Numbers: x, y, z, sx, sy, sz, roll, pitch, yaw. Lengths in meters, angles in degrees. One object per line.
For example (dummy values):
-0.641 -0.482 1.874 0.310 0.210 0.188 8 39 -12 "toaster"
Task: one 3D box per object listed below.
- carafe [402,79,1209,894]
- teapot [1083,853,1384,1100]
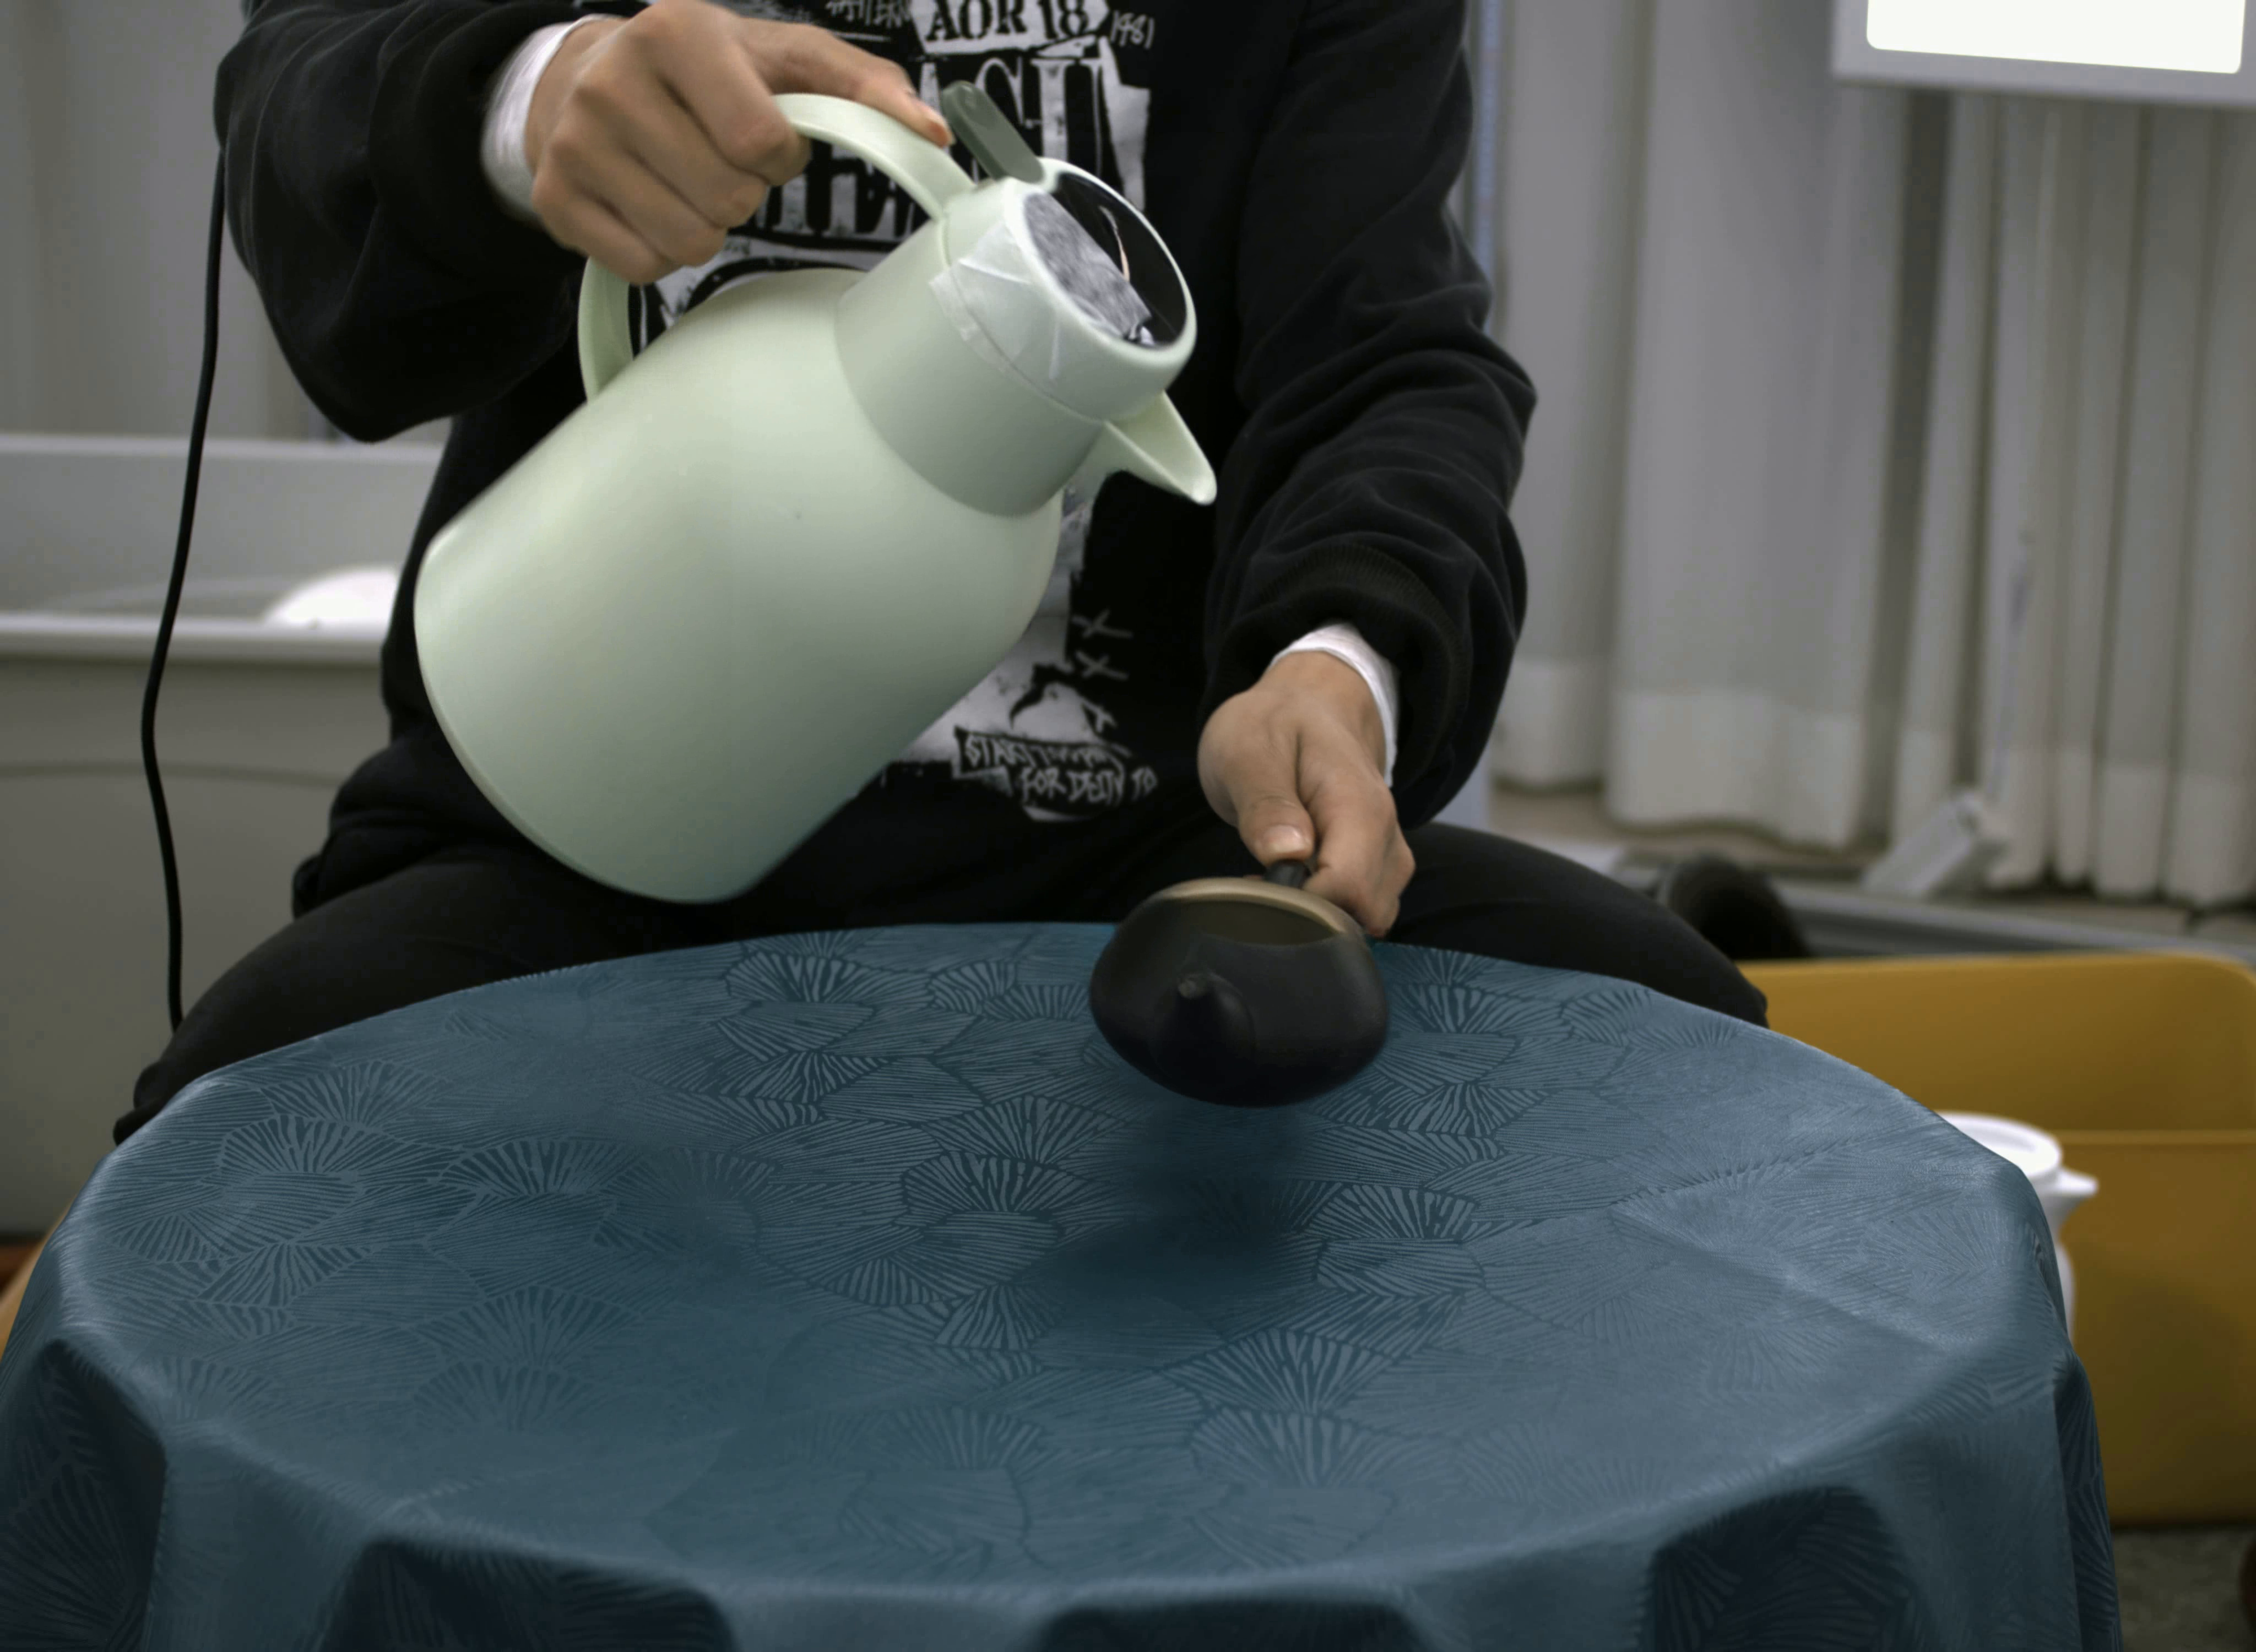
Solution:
-0.101 -0.110 1.574 0.256 0.187 0.144 -40 4 32 "carafe"
0.032 0.048 1.572 0.090 0.053 0.133 13 20 12 "teapot"
